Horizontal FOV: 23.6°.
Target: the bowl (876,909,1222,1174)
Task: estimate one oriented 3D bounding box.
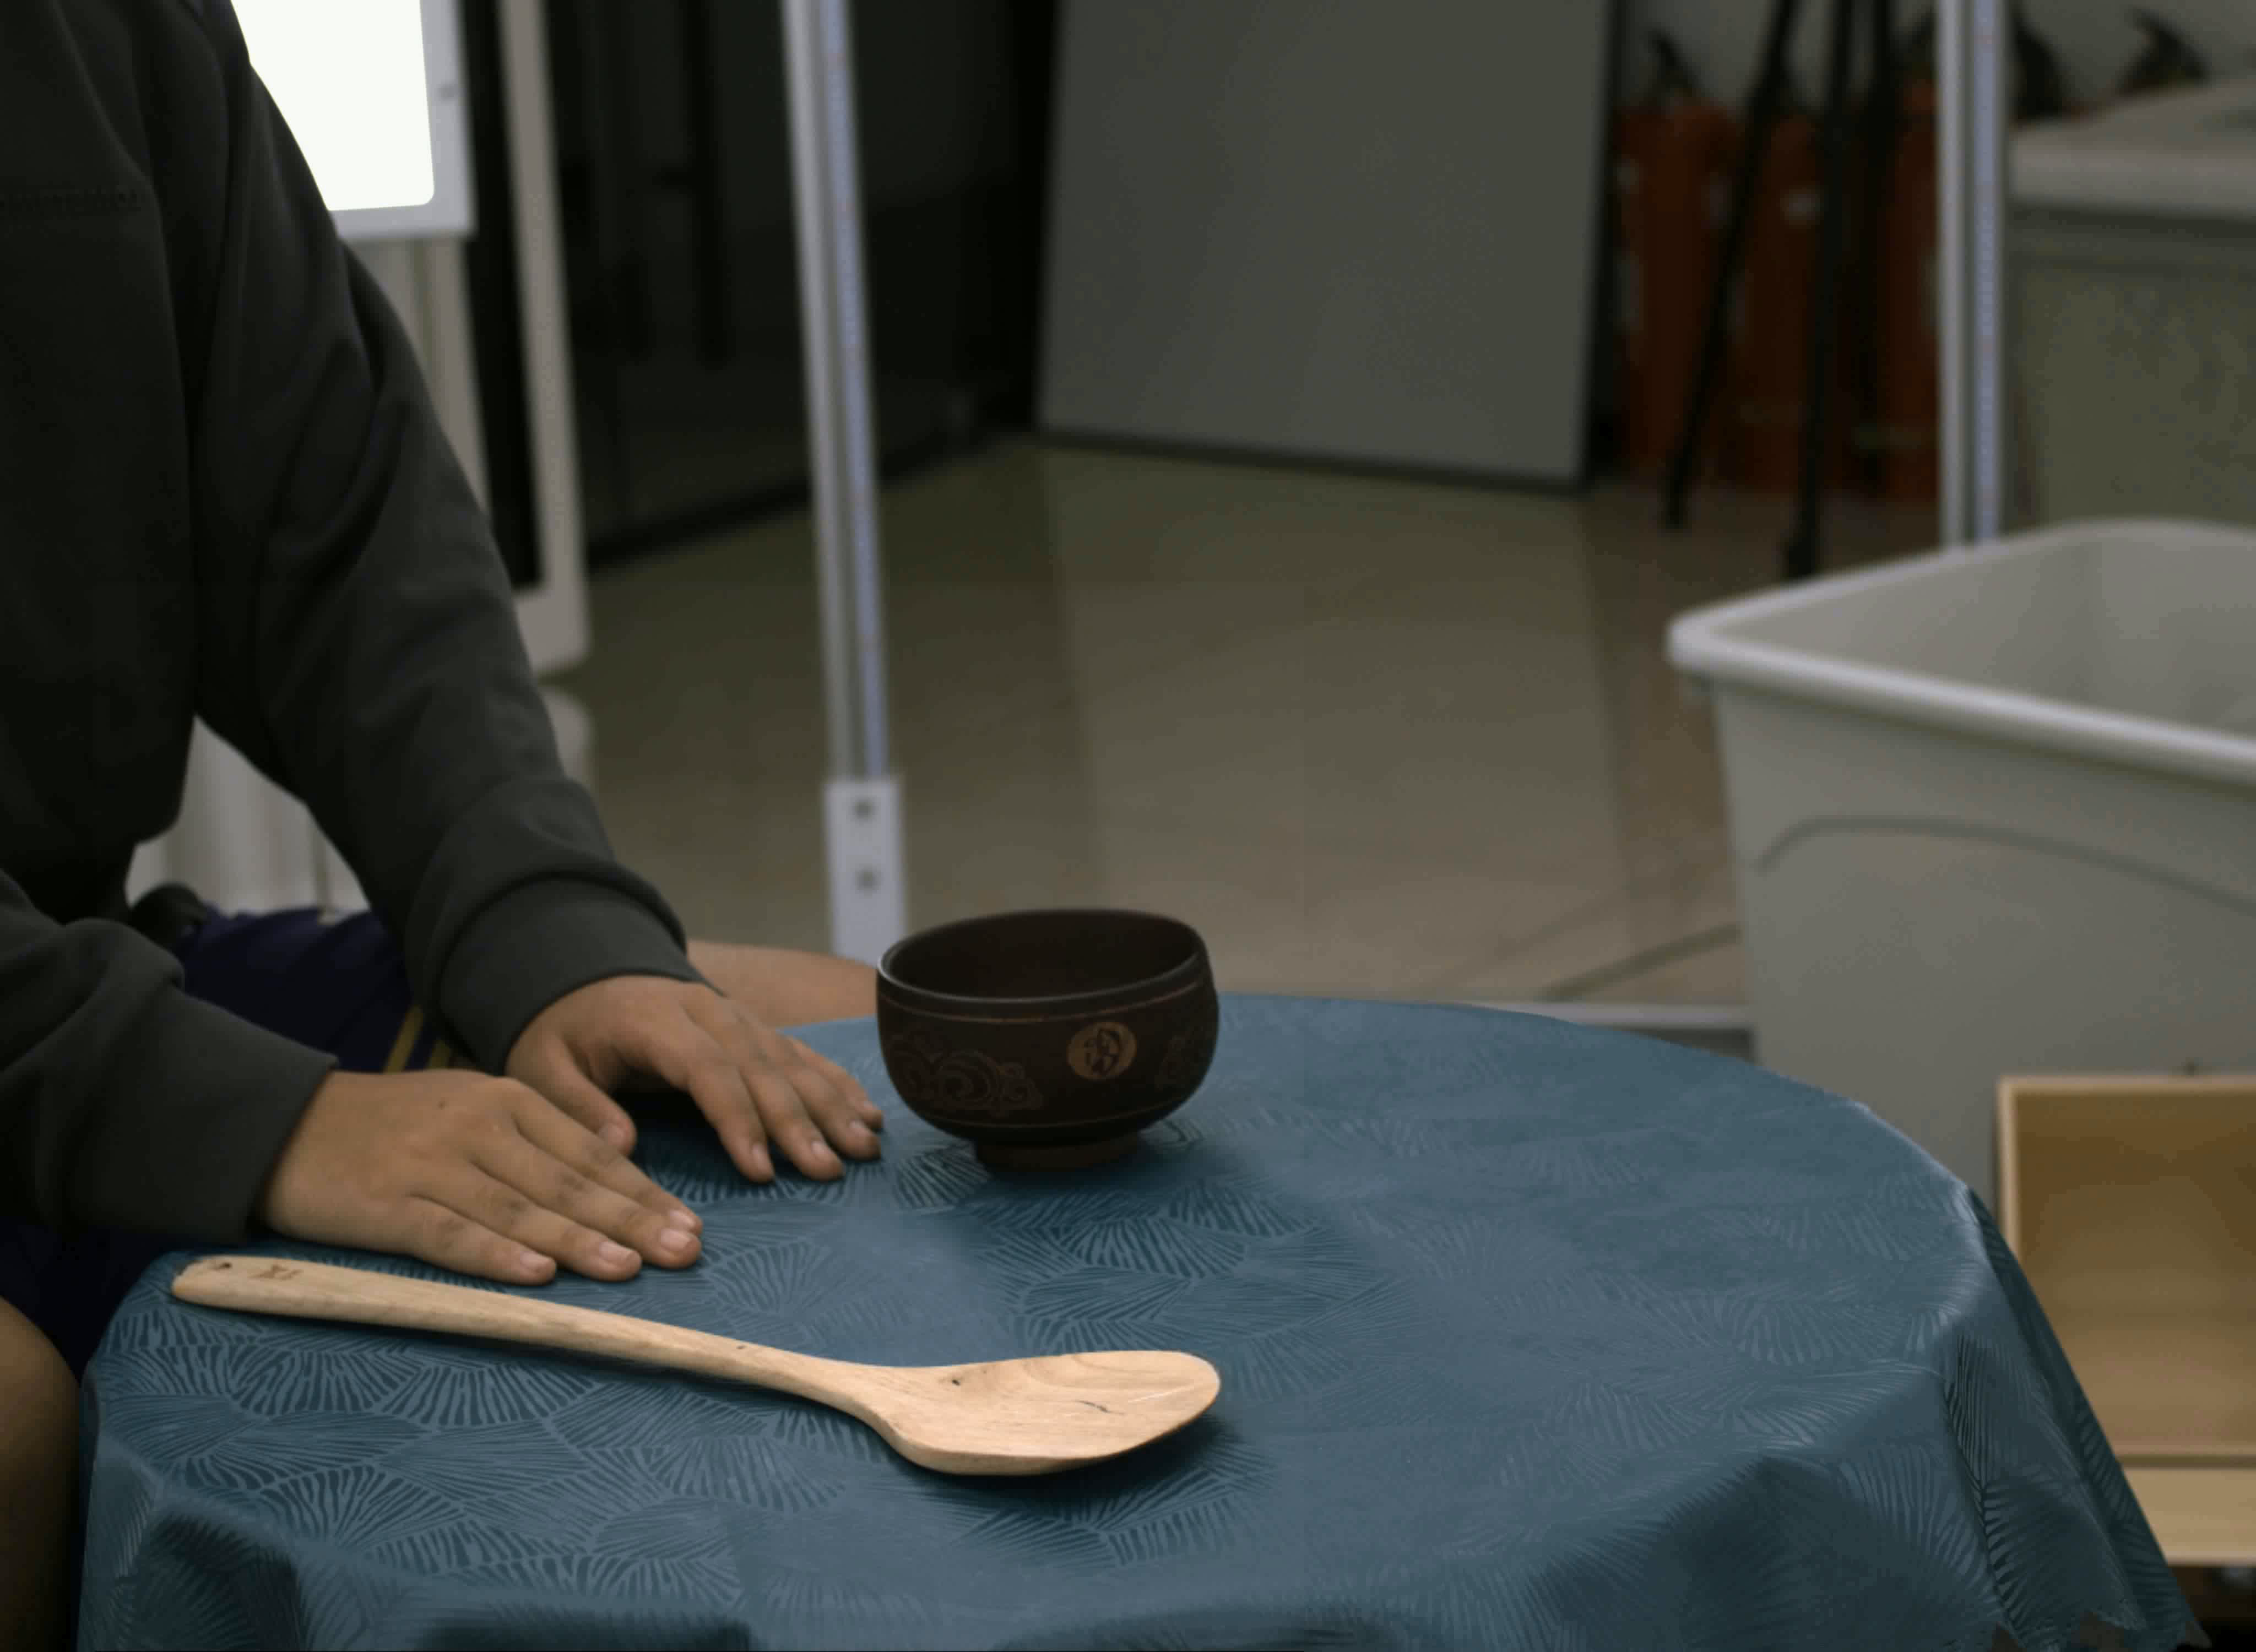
[{"bbox_3d":[-0.025,0.075,1.814,0.116,0.070,0.118,-5,12,0],"label":"bowl"}]

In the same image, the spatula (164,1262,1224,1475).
[{"bbox_3d":[-0.146,0.158,1.622,0.393,0.018,0.094,6,15,34],"label":"spatula"}]
